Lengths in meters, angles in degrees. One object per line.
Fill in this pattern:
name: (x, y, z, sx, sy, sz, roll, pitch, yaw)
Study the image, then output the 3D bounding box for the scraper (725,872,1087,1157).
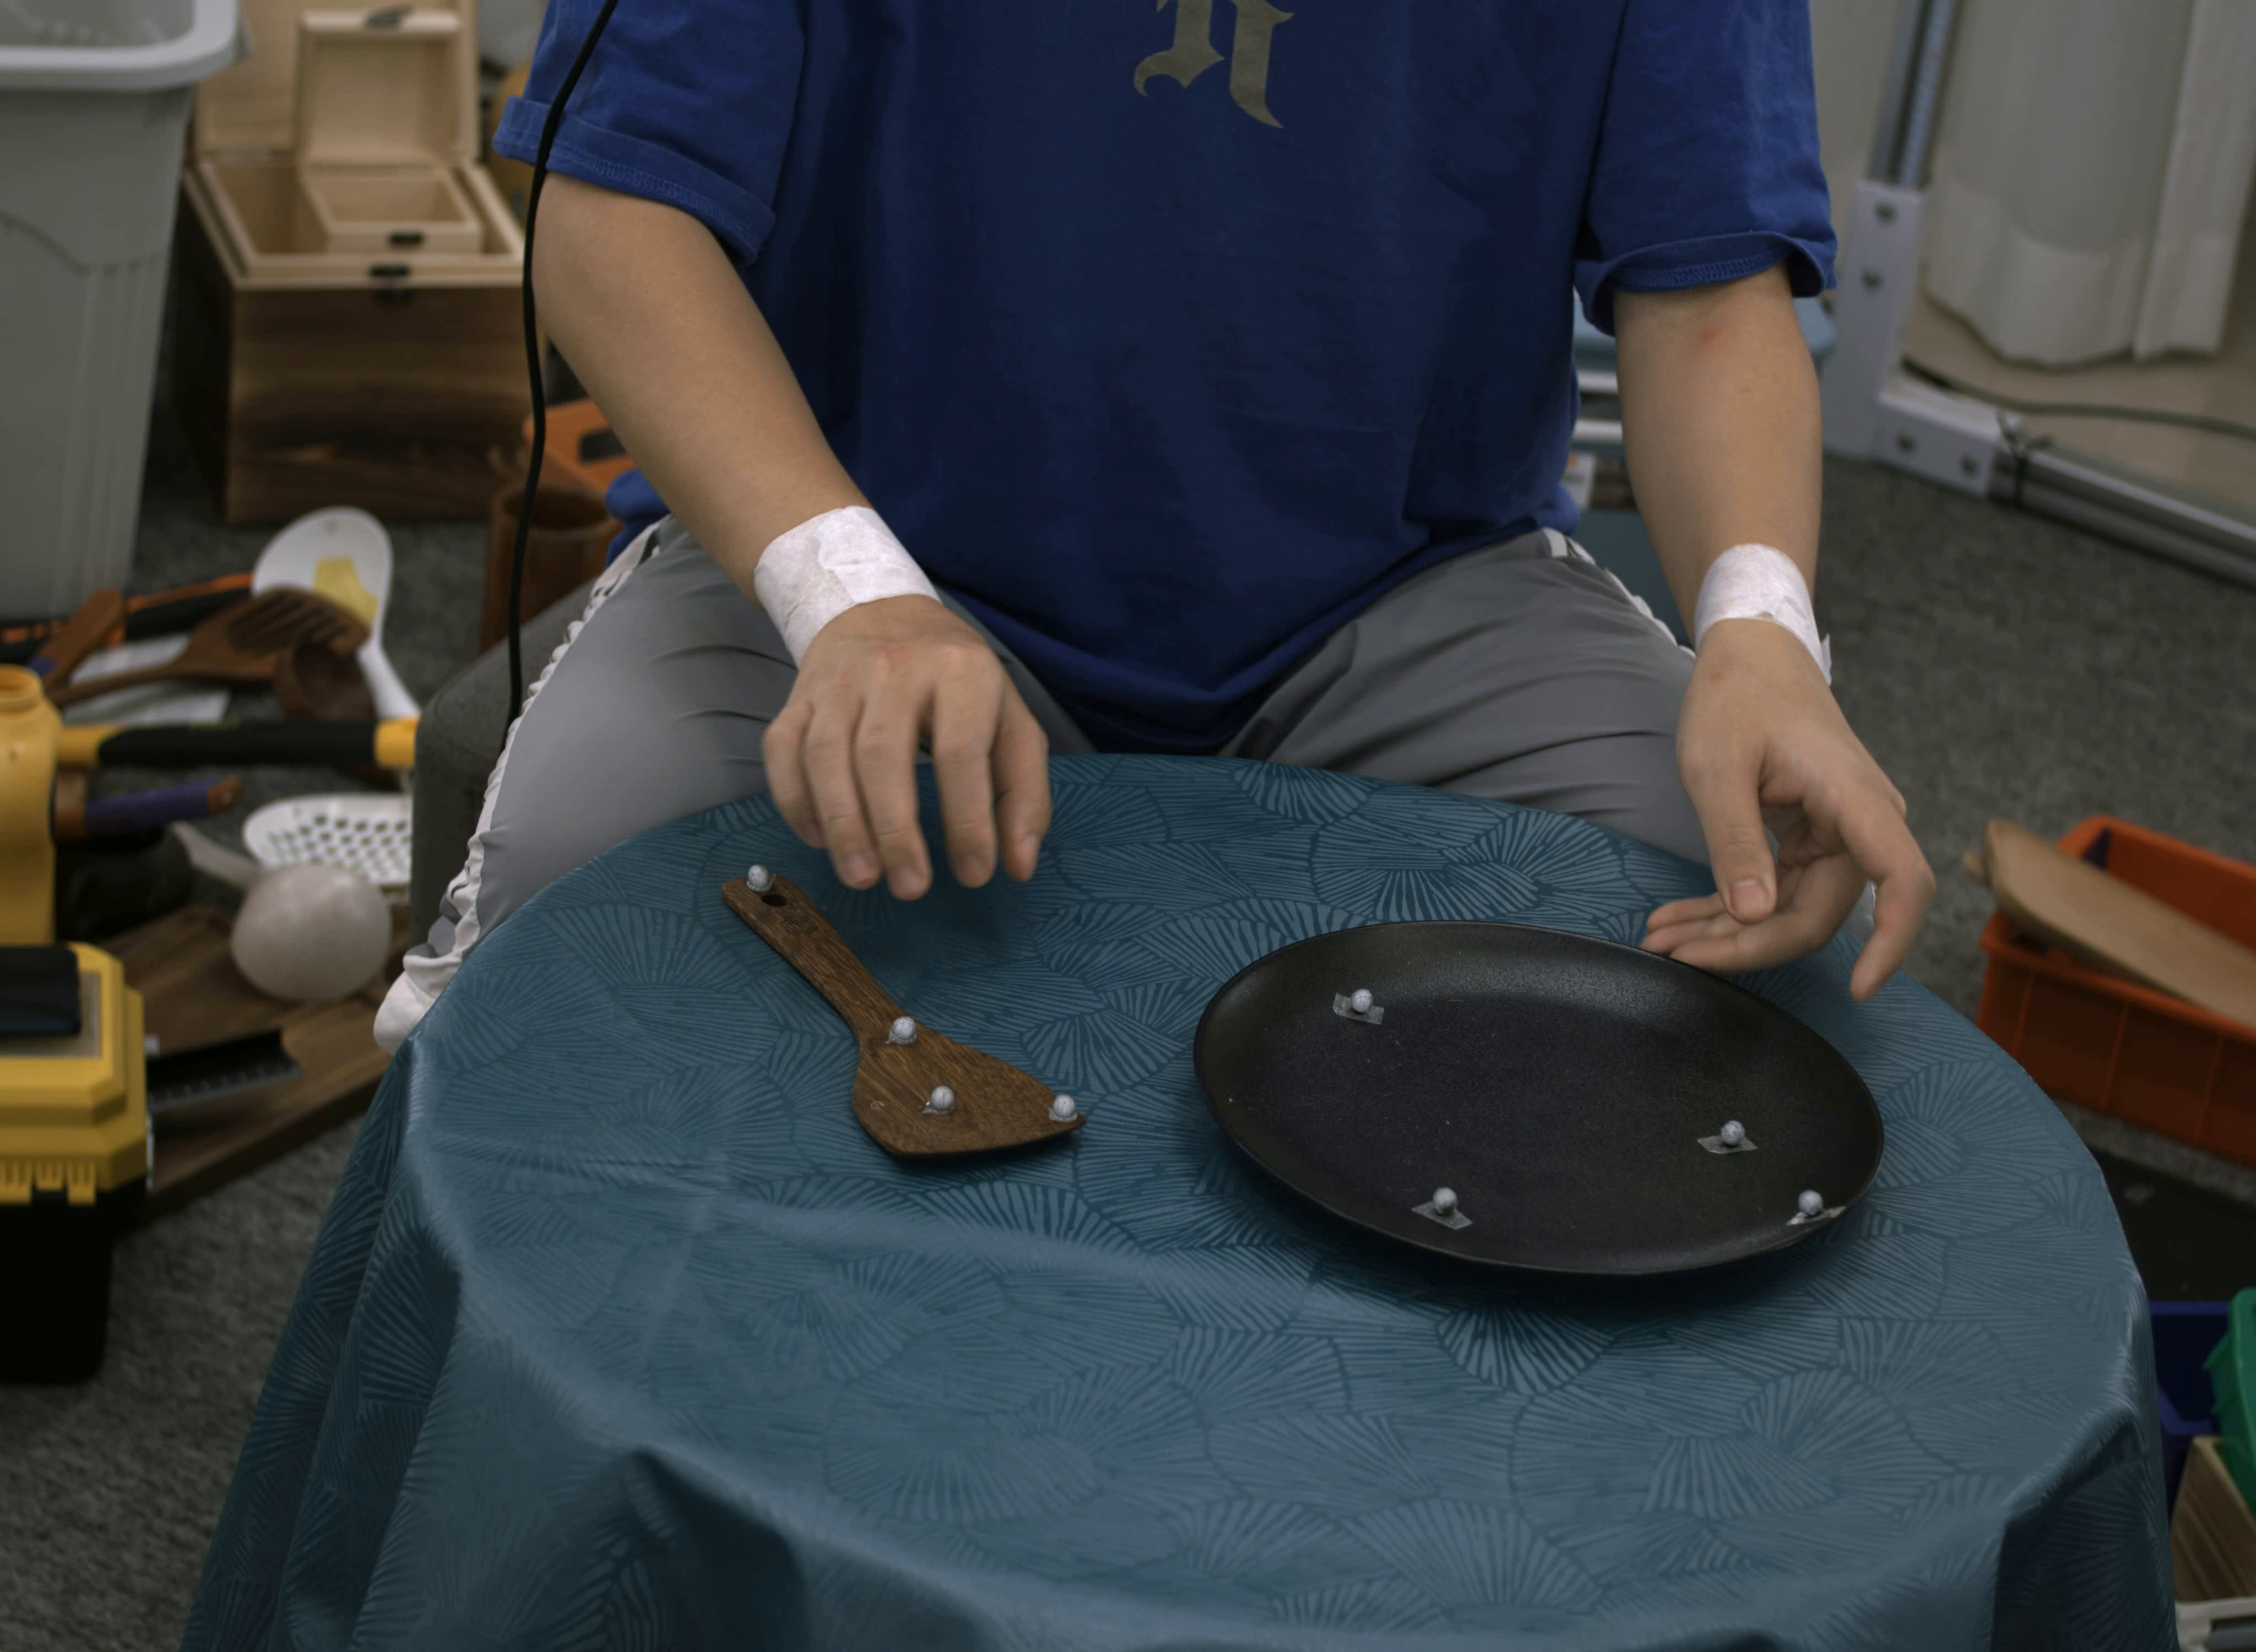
scraper: (-0.091, 0.066, 1.887, 0.075, 0.011, 0.213, -7, 29, -27)

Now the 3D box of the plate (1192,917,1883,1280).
plate: (0.141, 0.099, 1.858, 0.243, 0.023, 0.246, 5, 27, -3)
